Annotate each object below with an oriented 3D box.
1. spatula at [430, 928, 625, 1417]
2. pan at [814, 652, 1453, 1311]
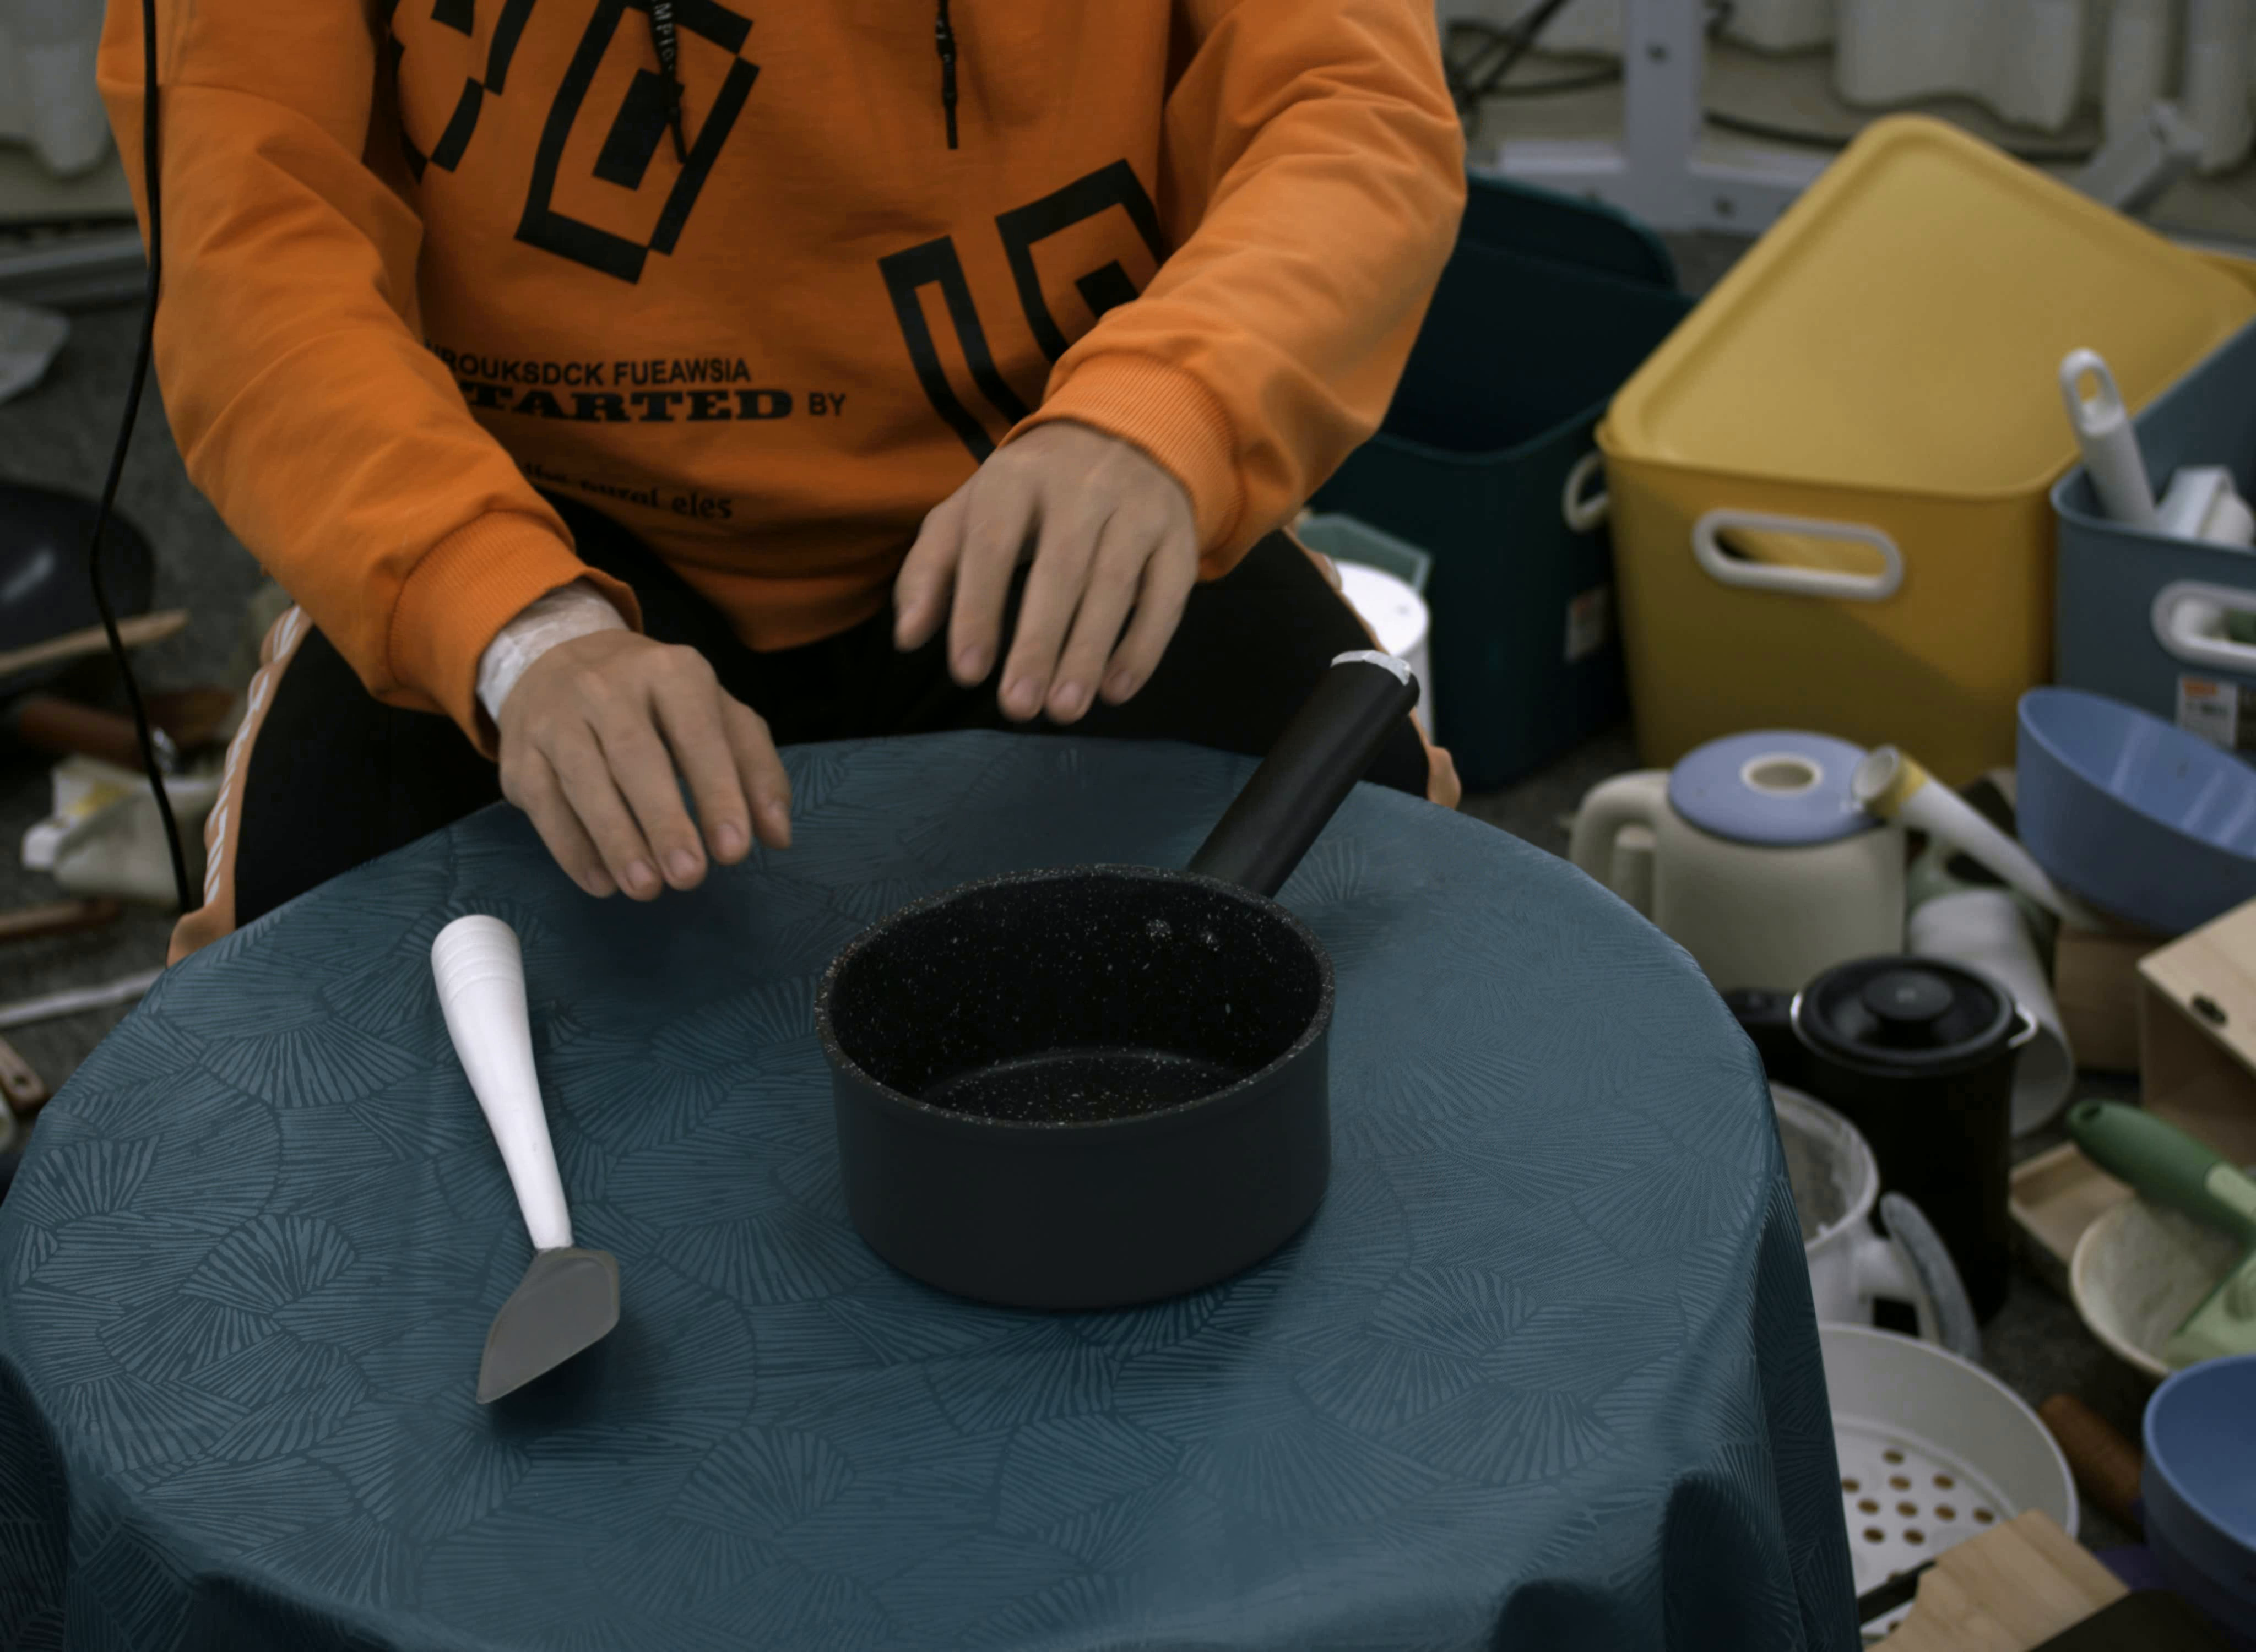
[{"bbox_3d":[-0.203,0.113,1.864,0.058,0.032,0.291,-28,29,2],"label":"spatula"},{"bbox_3d":[0.023,0.048,1.910,0.171,0.085,0.334,13,33,26],"label":"pan"}]
